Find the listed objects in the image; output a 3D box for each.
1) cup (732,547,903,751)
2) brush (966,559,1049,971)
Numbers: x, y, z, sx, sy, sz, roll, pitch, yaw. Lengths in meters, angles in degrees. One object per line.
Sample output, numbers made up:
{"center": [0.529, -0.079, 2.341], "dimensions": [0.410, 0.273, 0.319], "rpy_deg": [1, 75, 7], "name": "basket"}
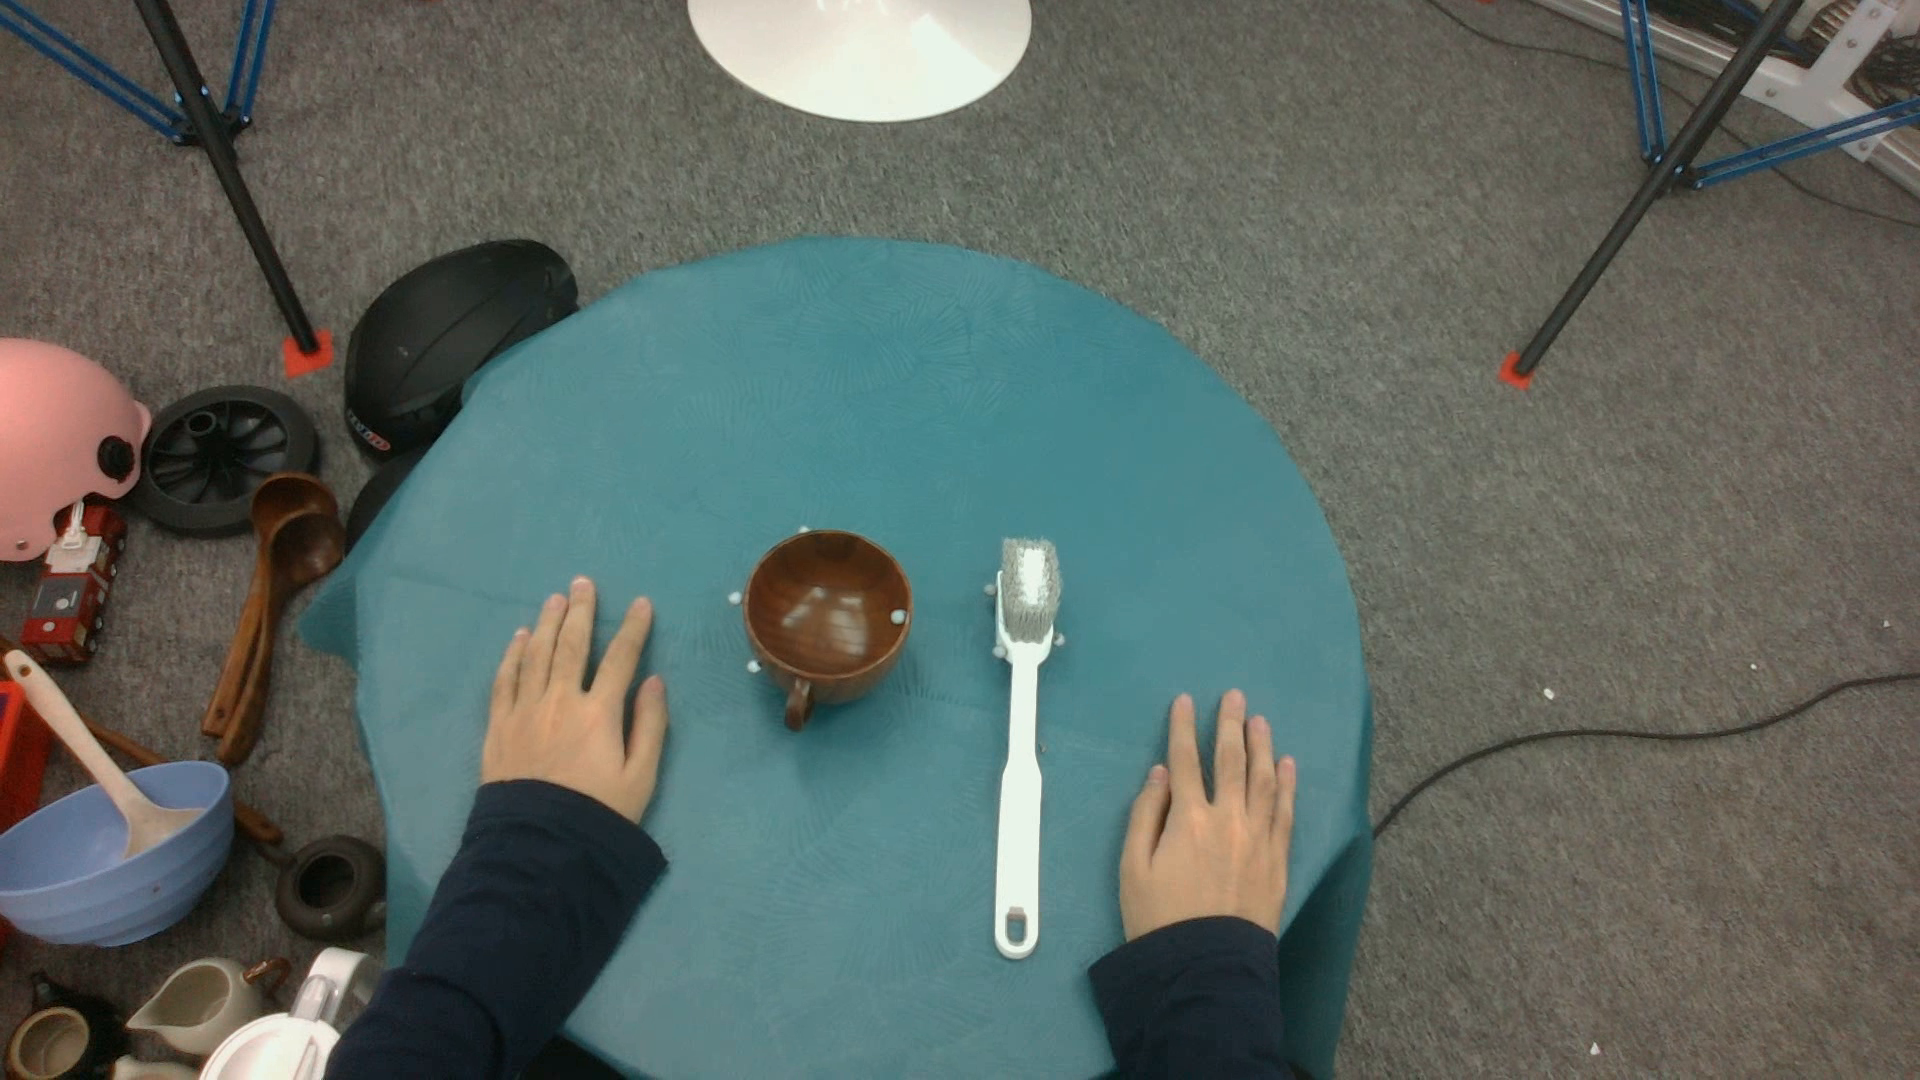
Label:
{"center": [-0.086, 0.071, 0.788], "dimensions": [0.096, 0.067, 0.120], "rpy_deg": [14, 54, -1], "name": "cup"}
{"center": [0.027, 0.118, 0.786], "dimensions": [0.034, 0.050, 0.245], "rpy_deg": [9, 57, -5], "name": "brush"}
